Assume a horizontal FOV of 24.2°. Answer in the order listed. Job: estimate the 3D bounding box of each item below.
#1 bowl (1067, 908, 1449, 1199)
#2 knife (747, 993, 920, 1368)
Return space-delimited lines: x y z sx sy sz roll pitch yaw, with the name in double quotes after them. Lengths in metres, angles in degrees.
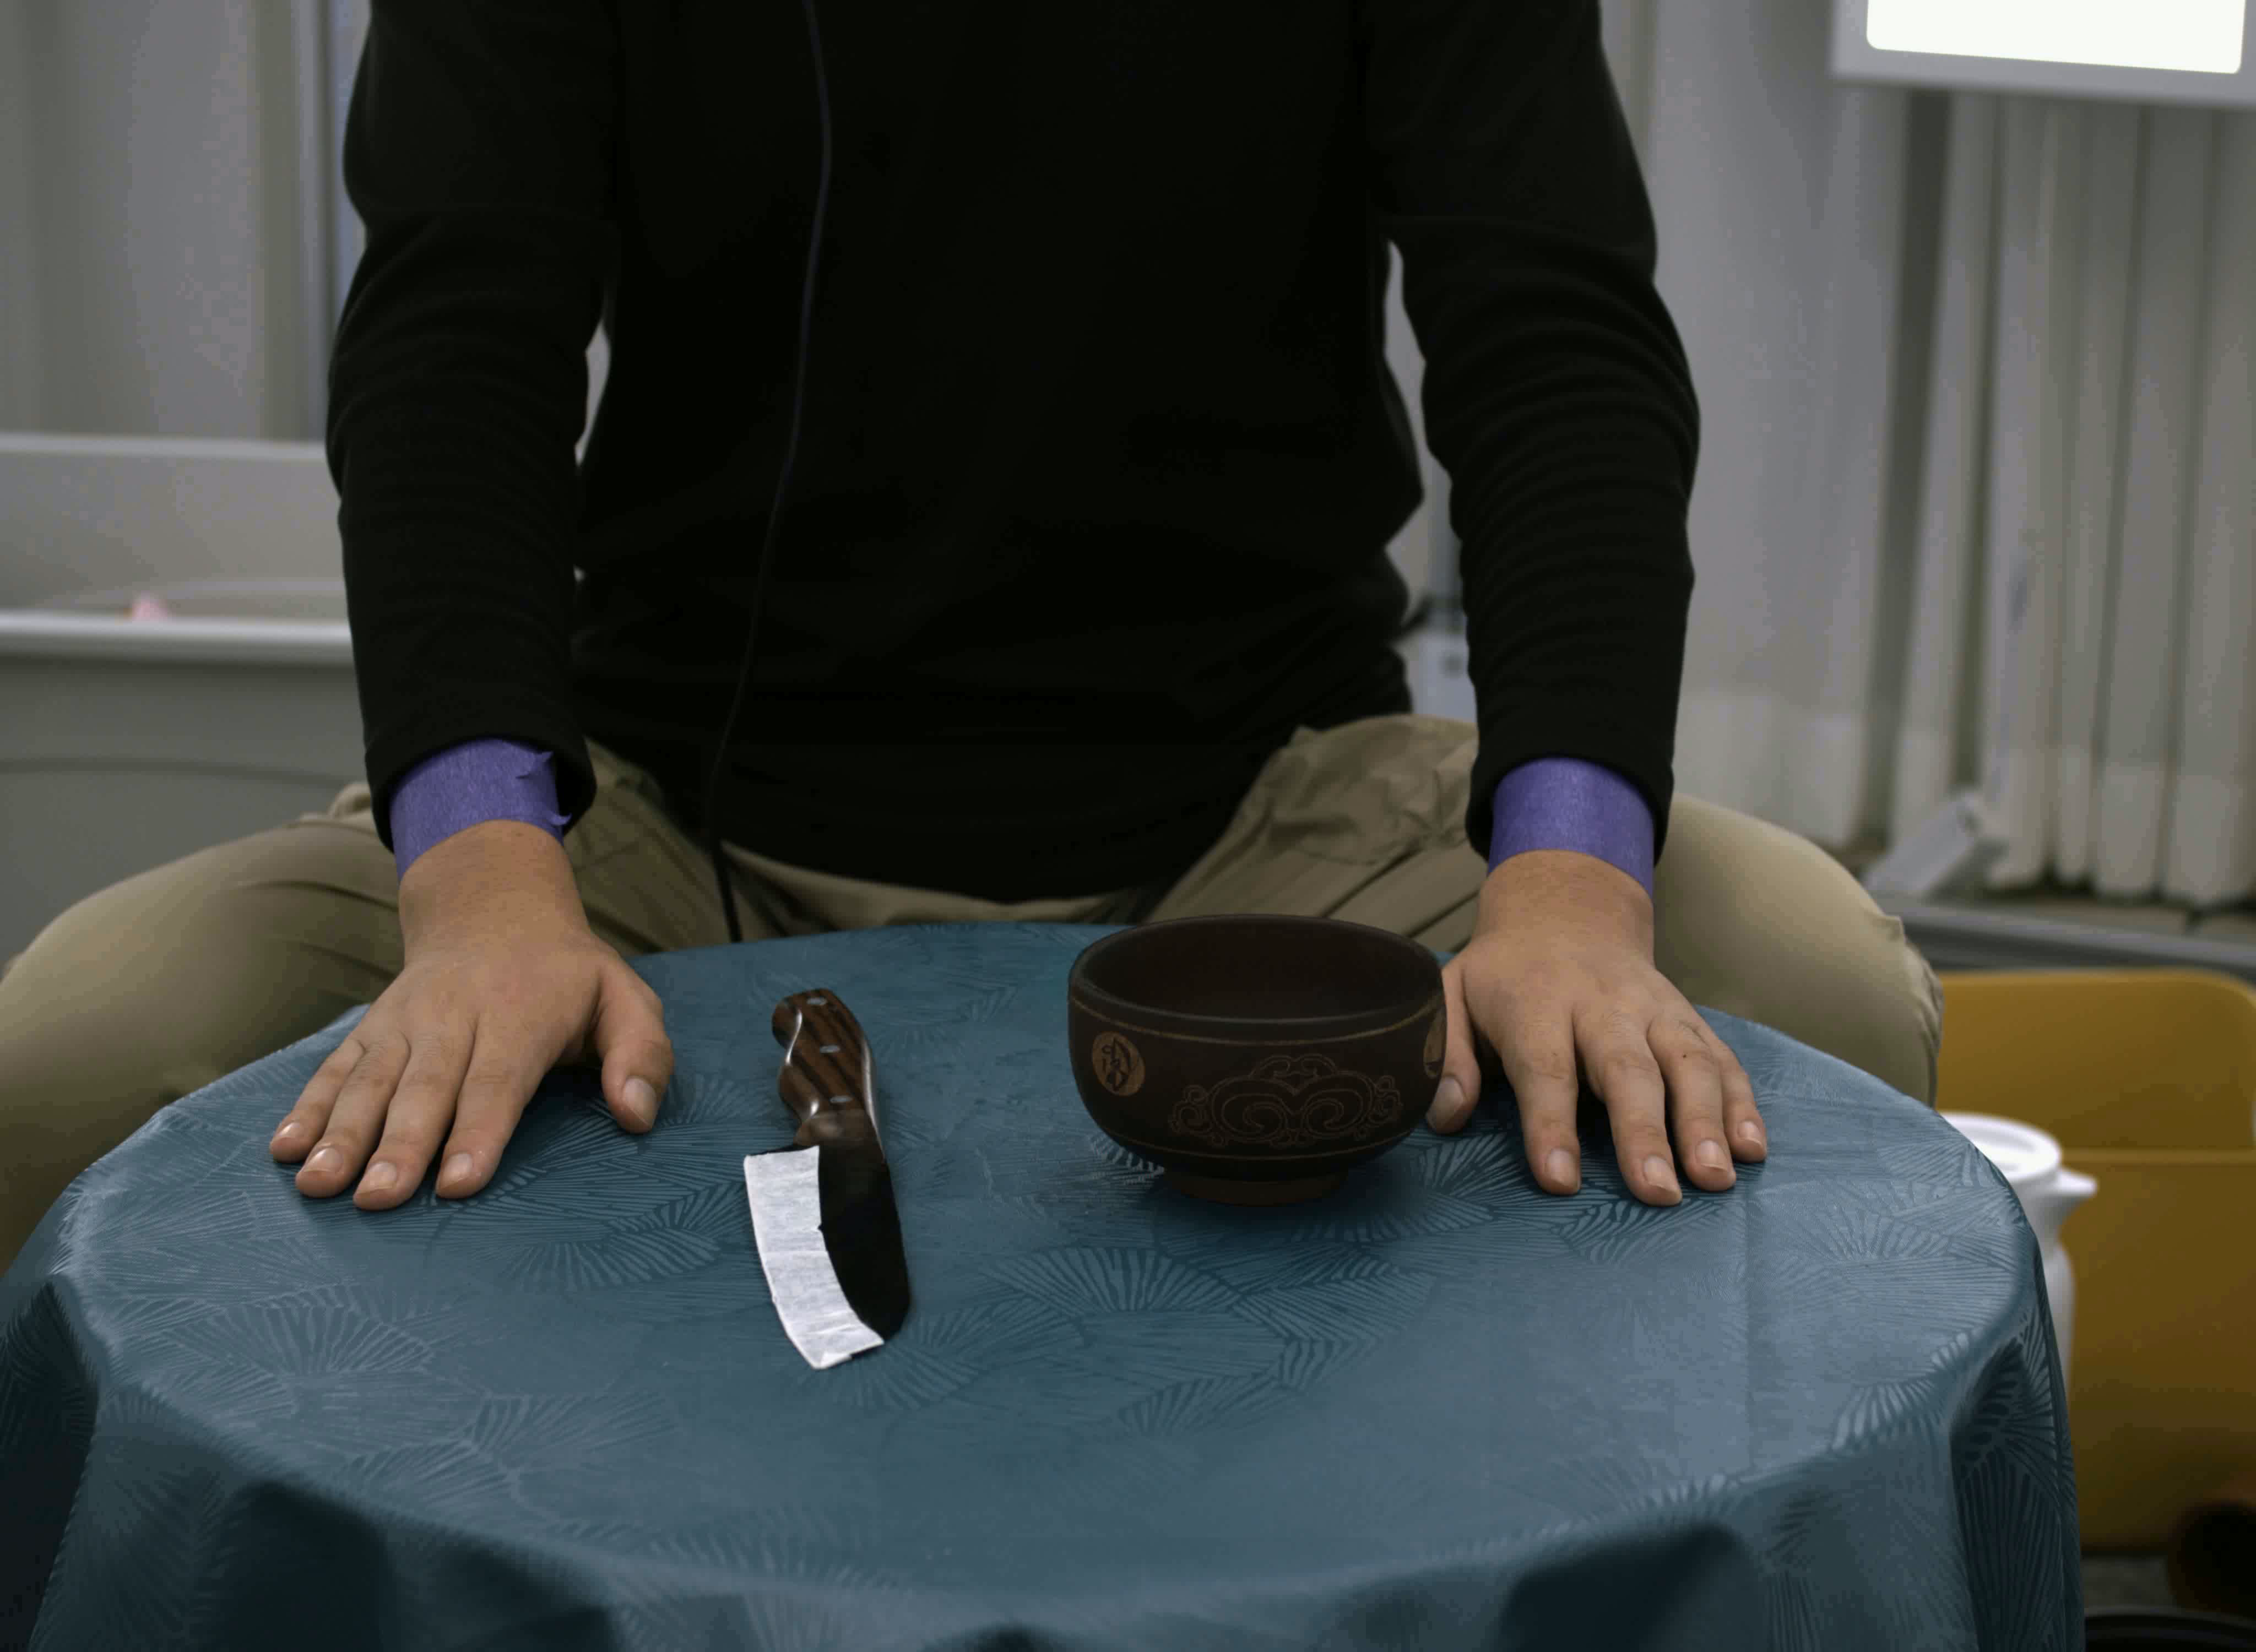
0.040 0.074 1.627 0.117 0.070 0.117 1 15 0 "bowl"
-0.092 0.107 1.610 0.050 0.020 0.287 -5 18 -3 "knife"
